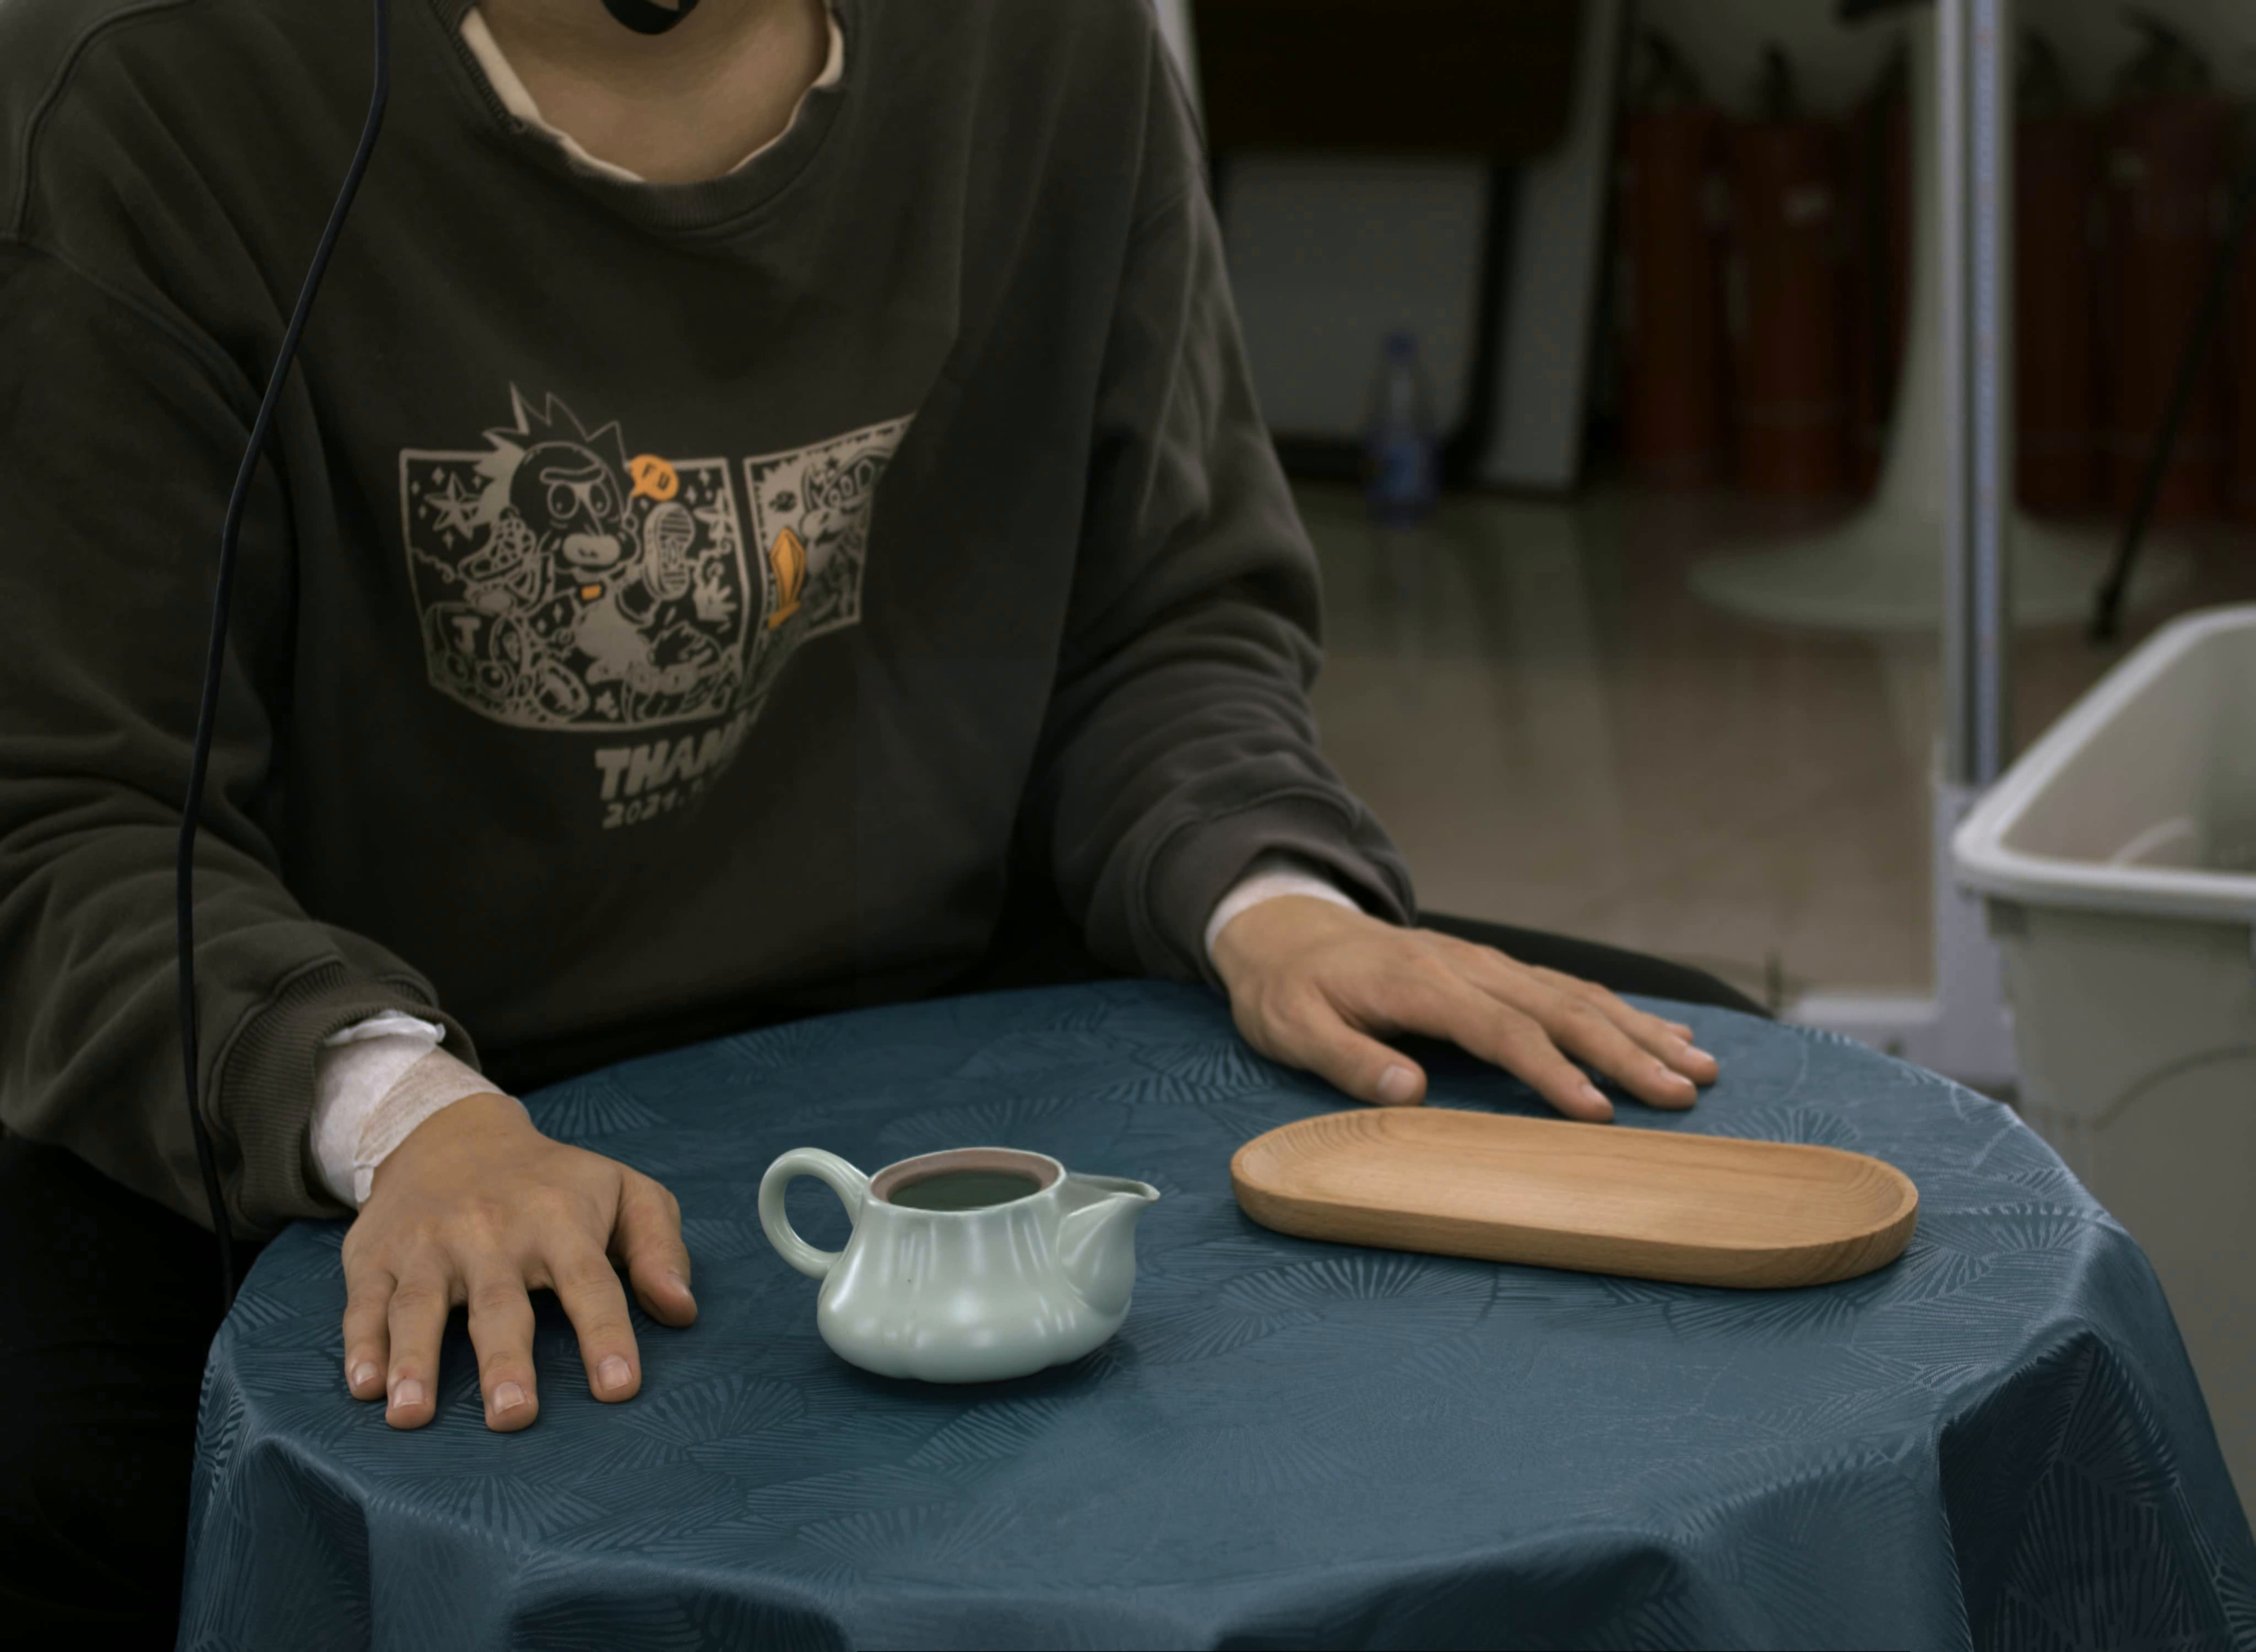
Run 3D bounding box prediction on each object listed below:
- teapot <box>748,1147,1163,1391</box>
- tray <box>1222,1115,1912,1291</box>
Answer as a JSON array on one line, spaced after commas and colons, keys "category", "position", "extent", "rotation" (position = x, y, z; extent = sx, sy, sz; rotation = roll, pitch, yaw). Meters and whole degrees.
[{"category": "teapot", "position": [-0.051, 0.132, 1.621], "extent": [0.137, 0.062, 0.095], "rotation": [2, 16, 24]}, {"category": "tray", "position": [0.138, 0.119, 1.709], "extent": [0.232, 0.020, 0.100], "rotation": [2, 15, 30]}]
